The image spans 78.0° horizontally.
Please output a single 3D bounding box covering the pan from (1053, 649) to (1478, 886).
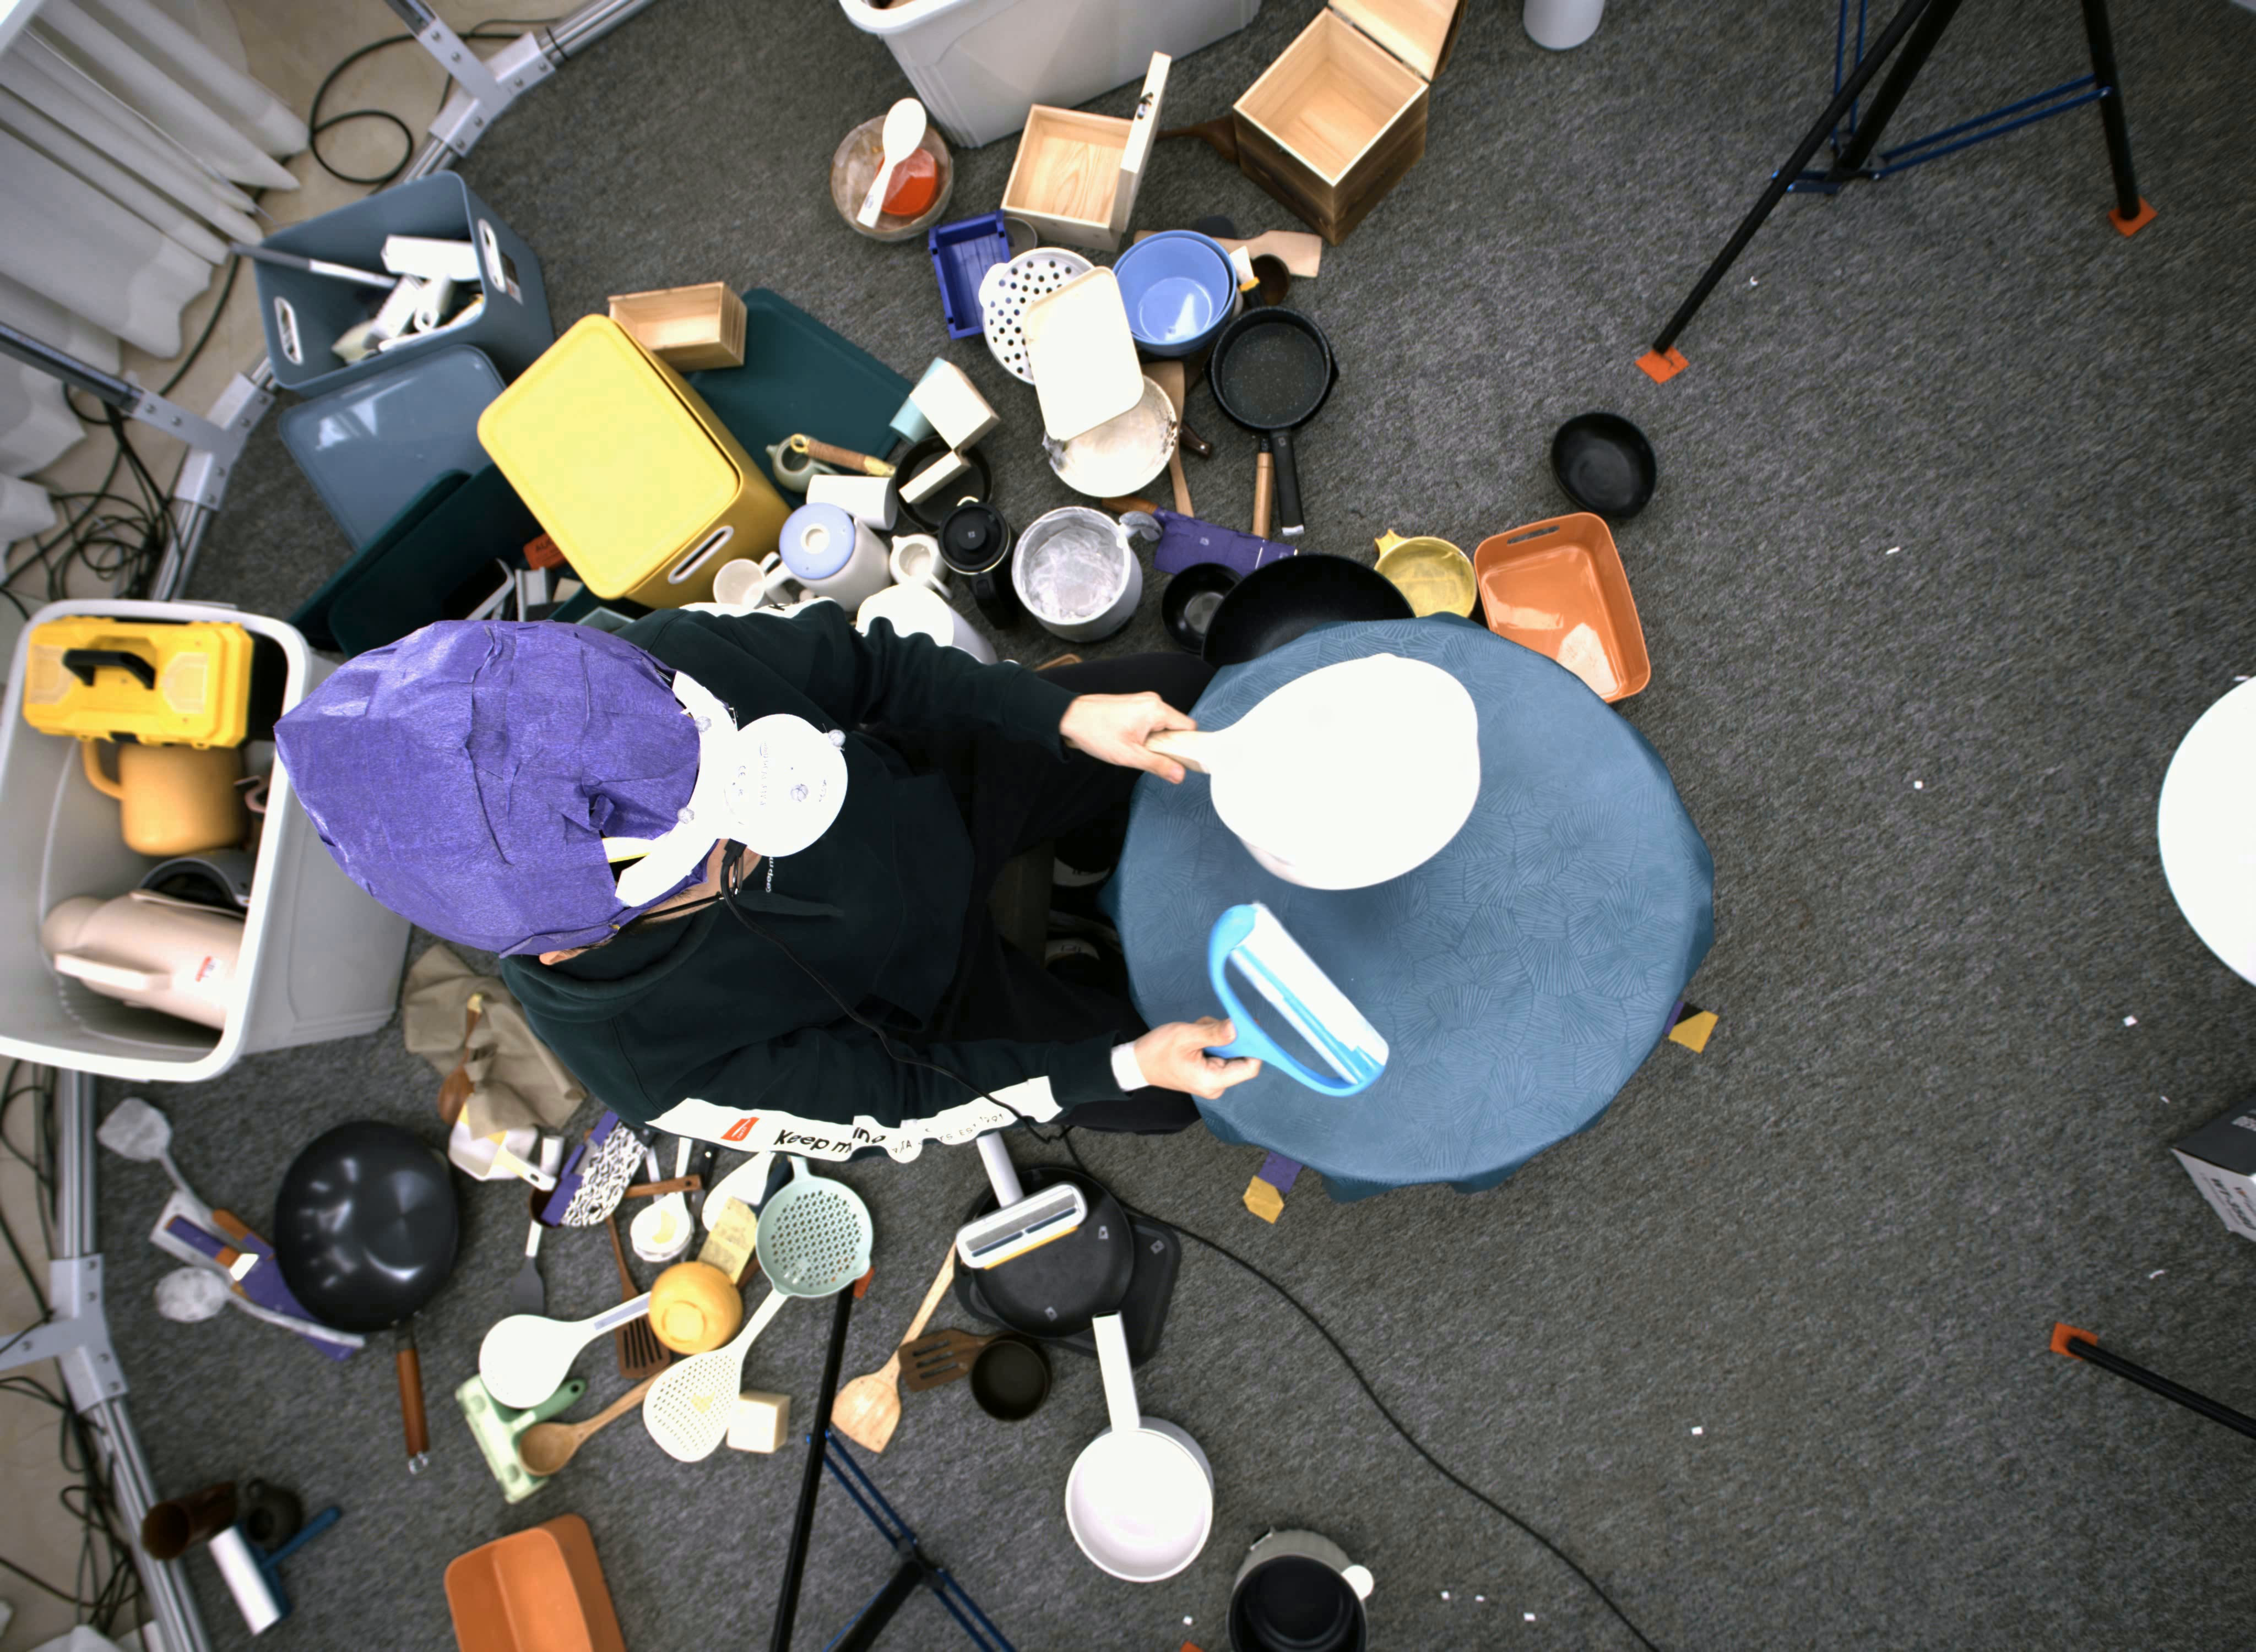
[{"bbox_3d":[0.126,-0.056,1.328,0.437,0.104,0.257,3,51,35],"label":"pan"}]

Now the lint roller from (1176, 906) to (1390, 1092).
[{"bbox_3d":[0.114,0.180,1.272,0.231,0.066,0.184,40,125,-23],"label":"lint roller"}]
